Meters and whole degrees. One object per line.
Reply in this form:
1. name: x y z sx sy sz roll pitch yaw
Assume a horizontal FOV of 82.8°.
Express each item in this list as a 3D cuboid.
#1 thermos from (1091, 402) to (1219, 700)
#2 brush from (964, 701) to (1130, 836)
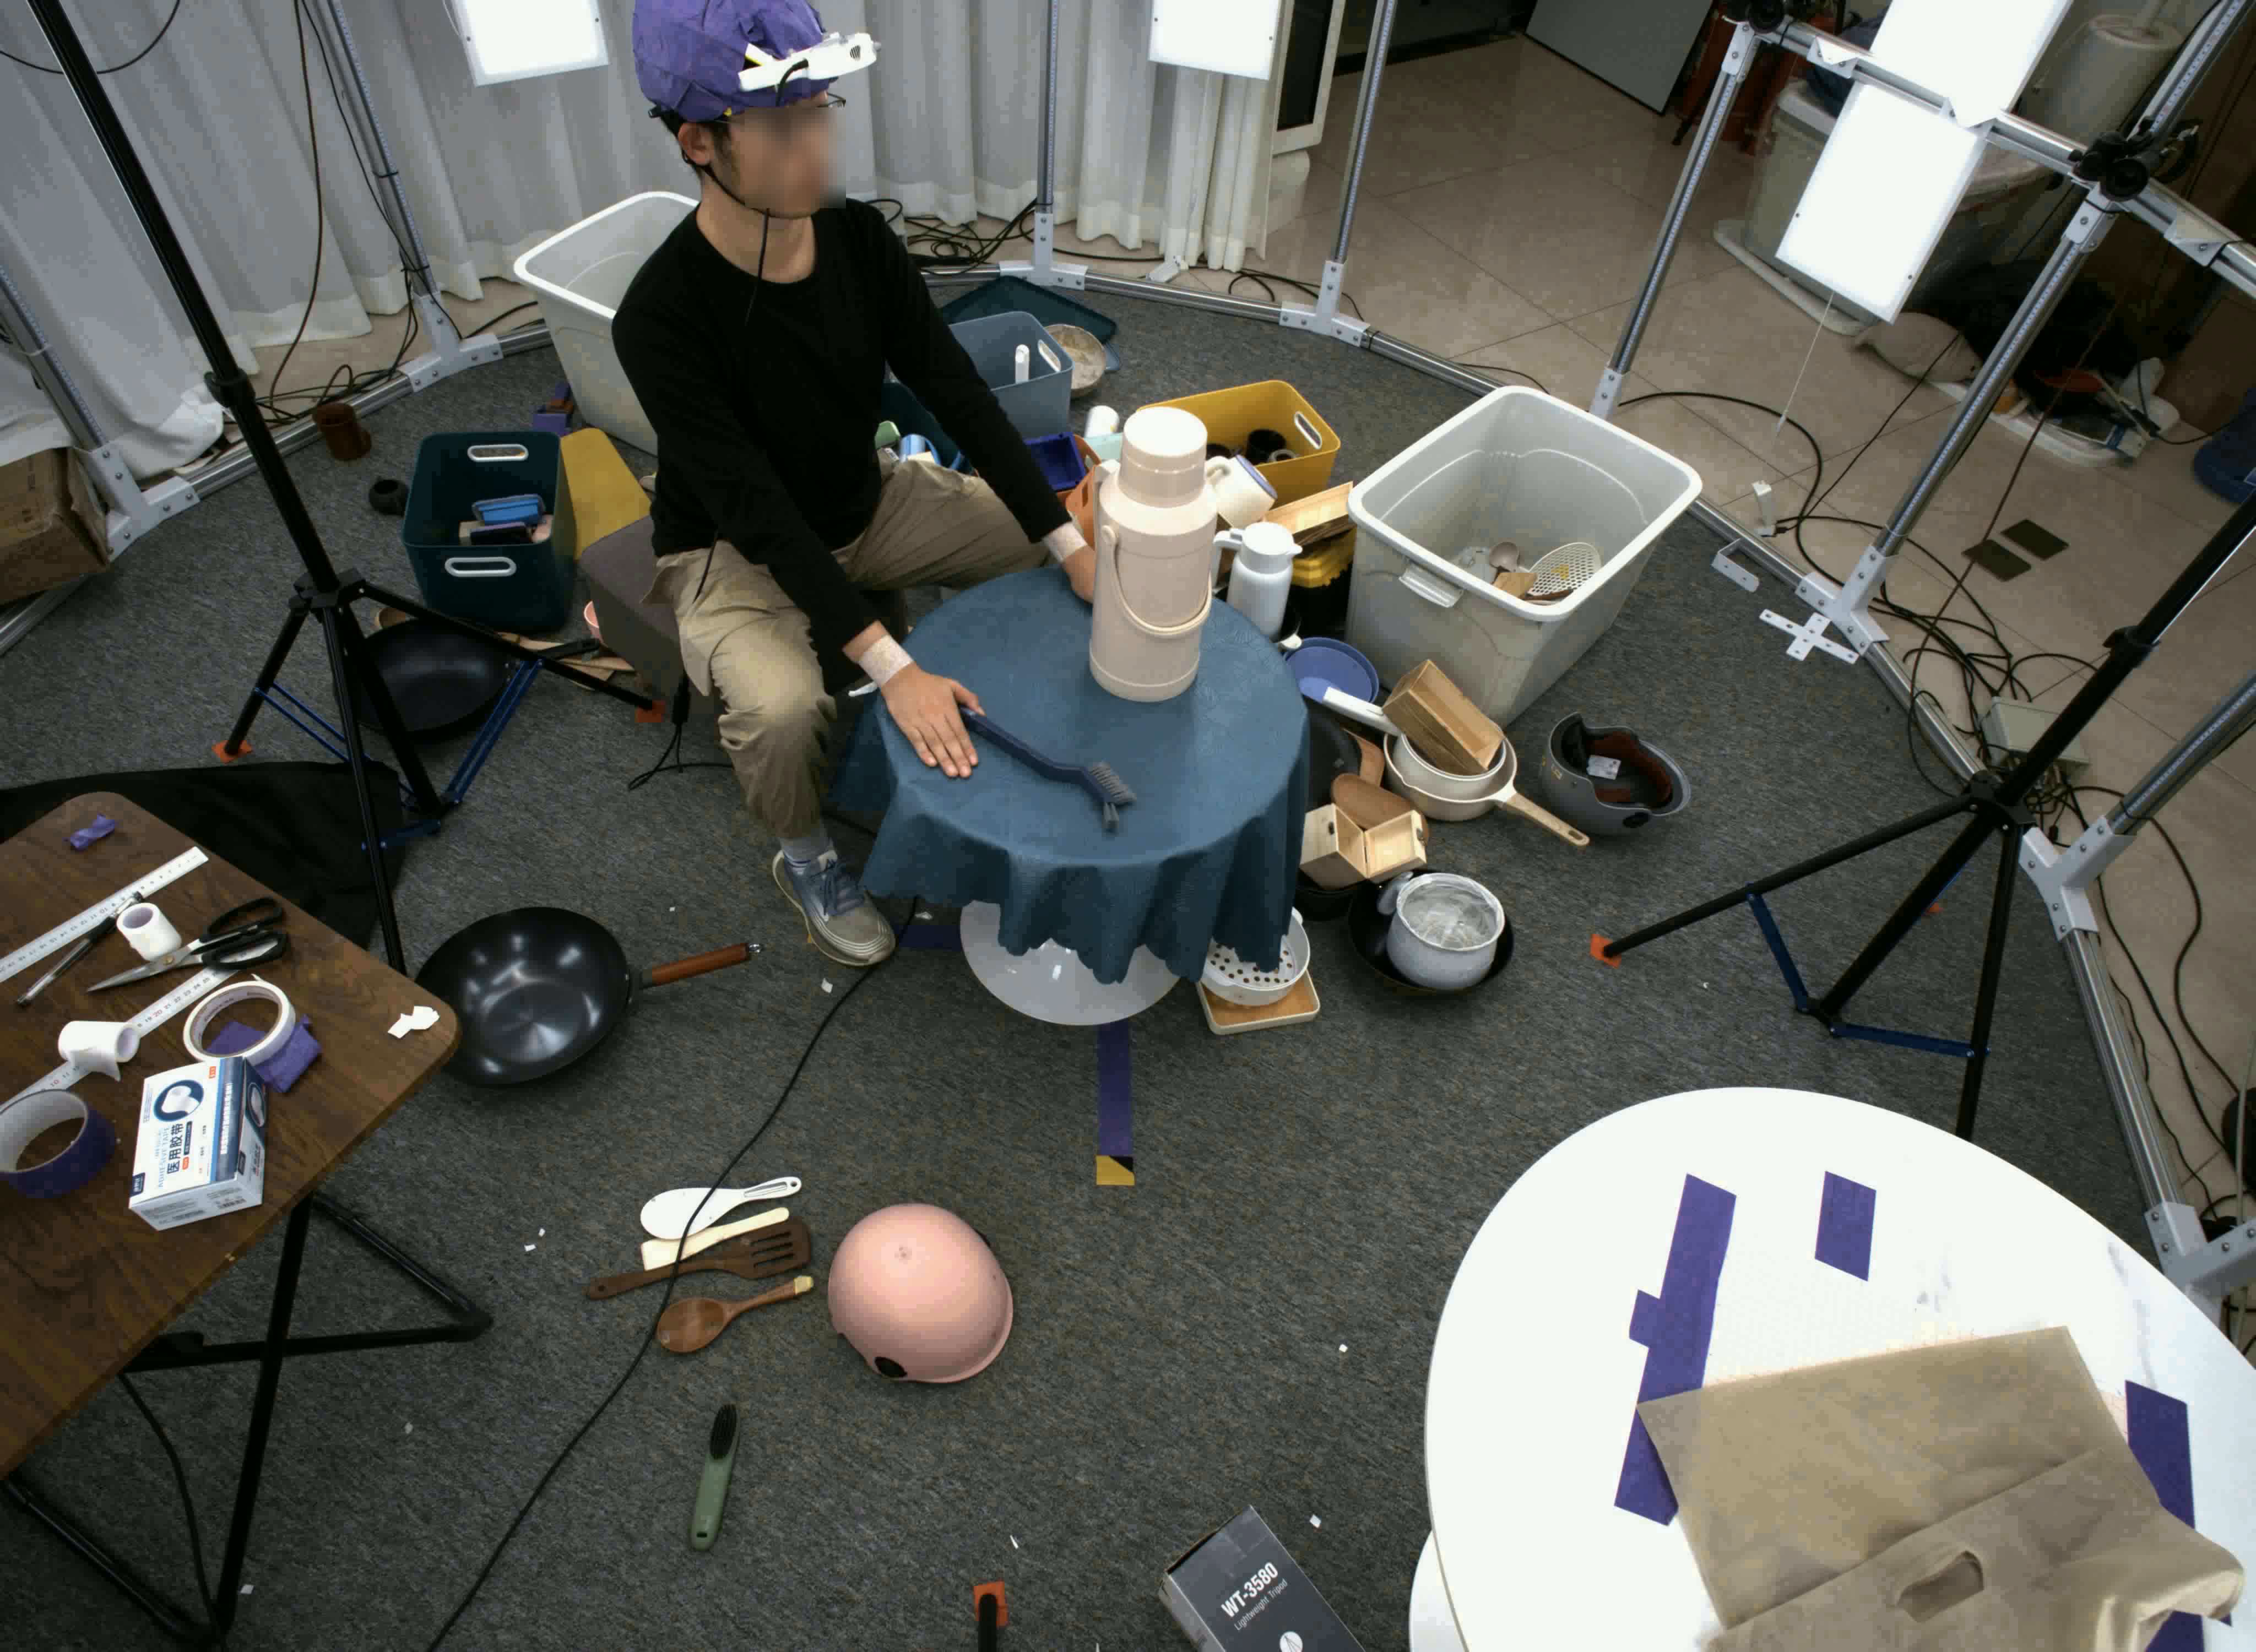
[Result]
1. thermos: 0.027 -0.373 1.740 0.176 0.396 0.210 -32 59 -26
2. brush: -0.121 -0.082 1.711 0.275 0.033 0.097 27 51 15
